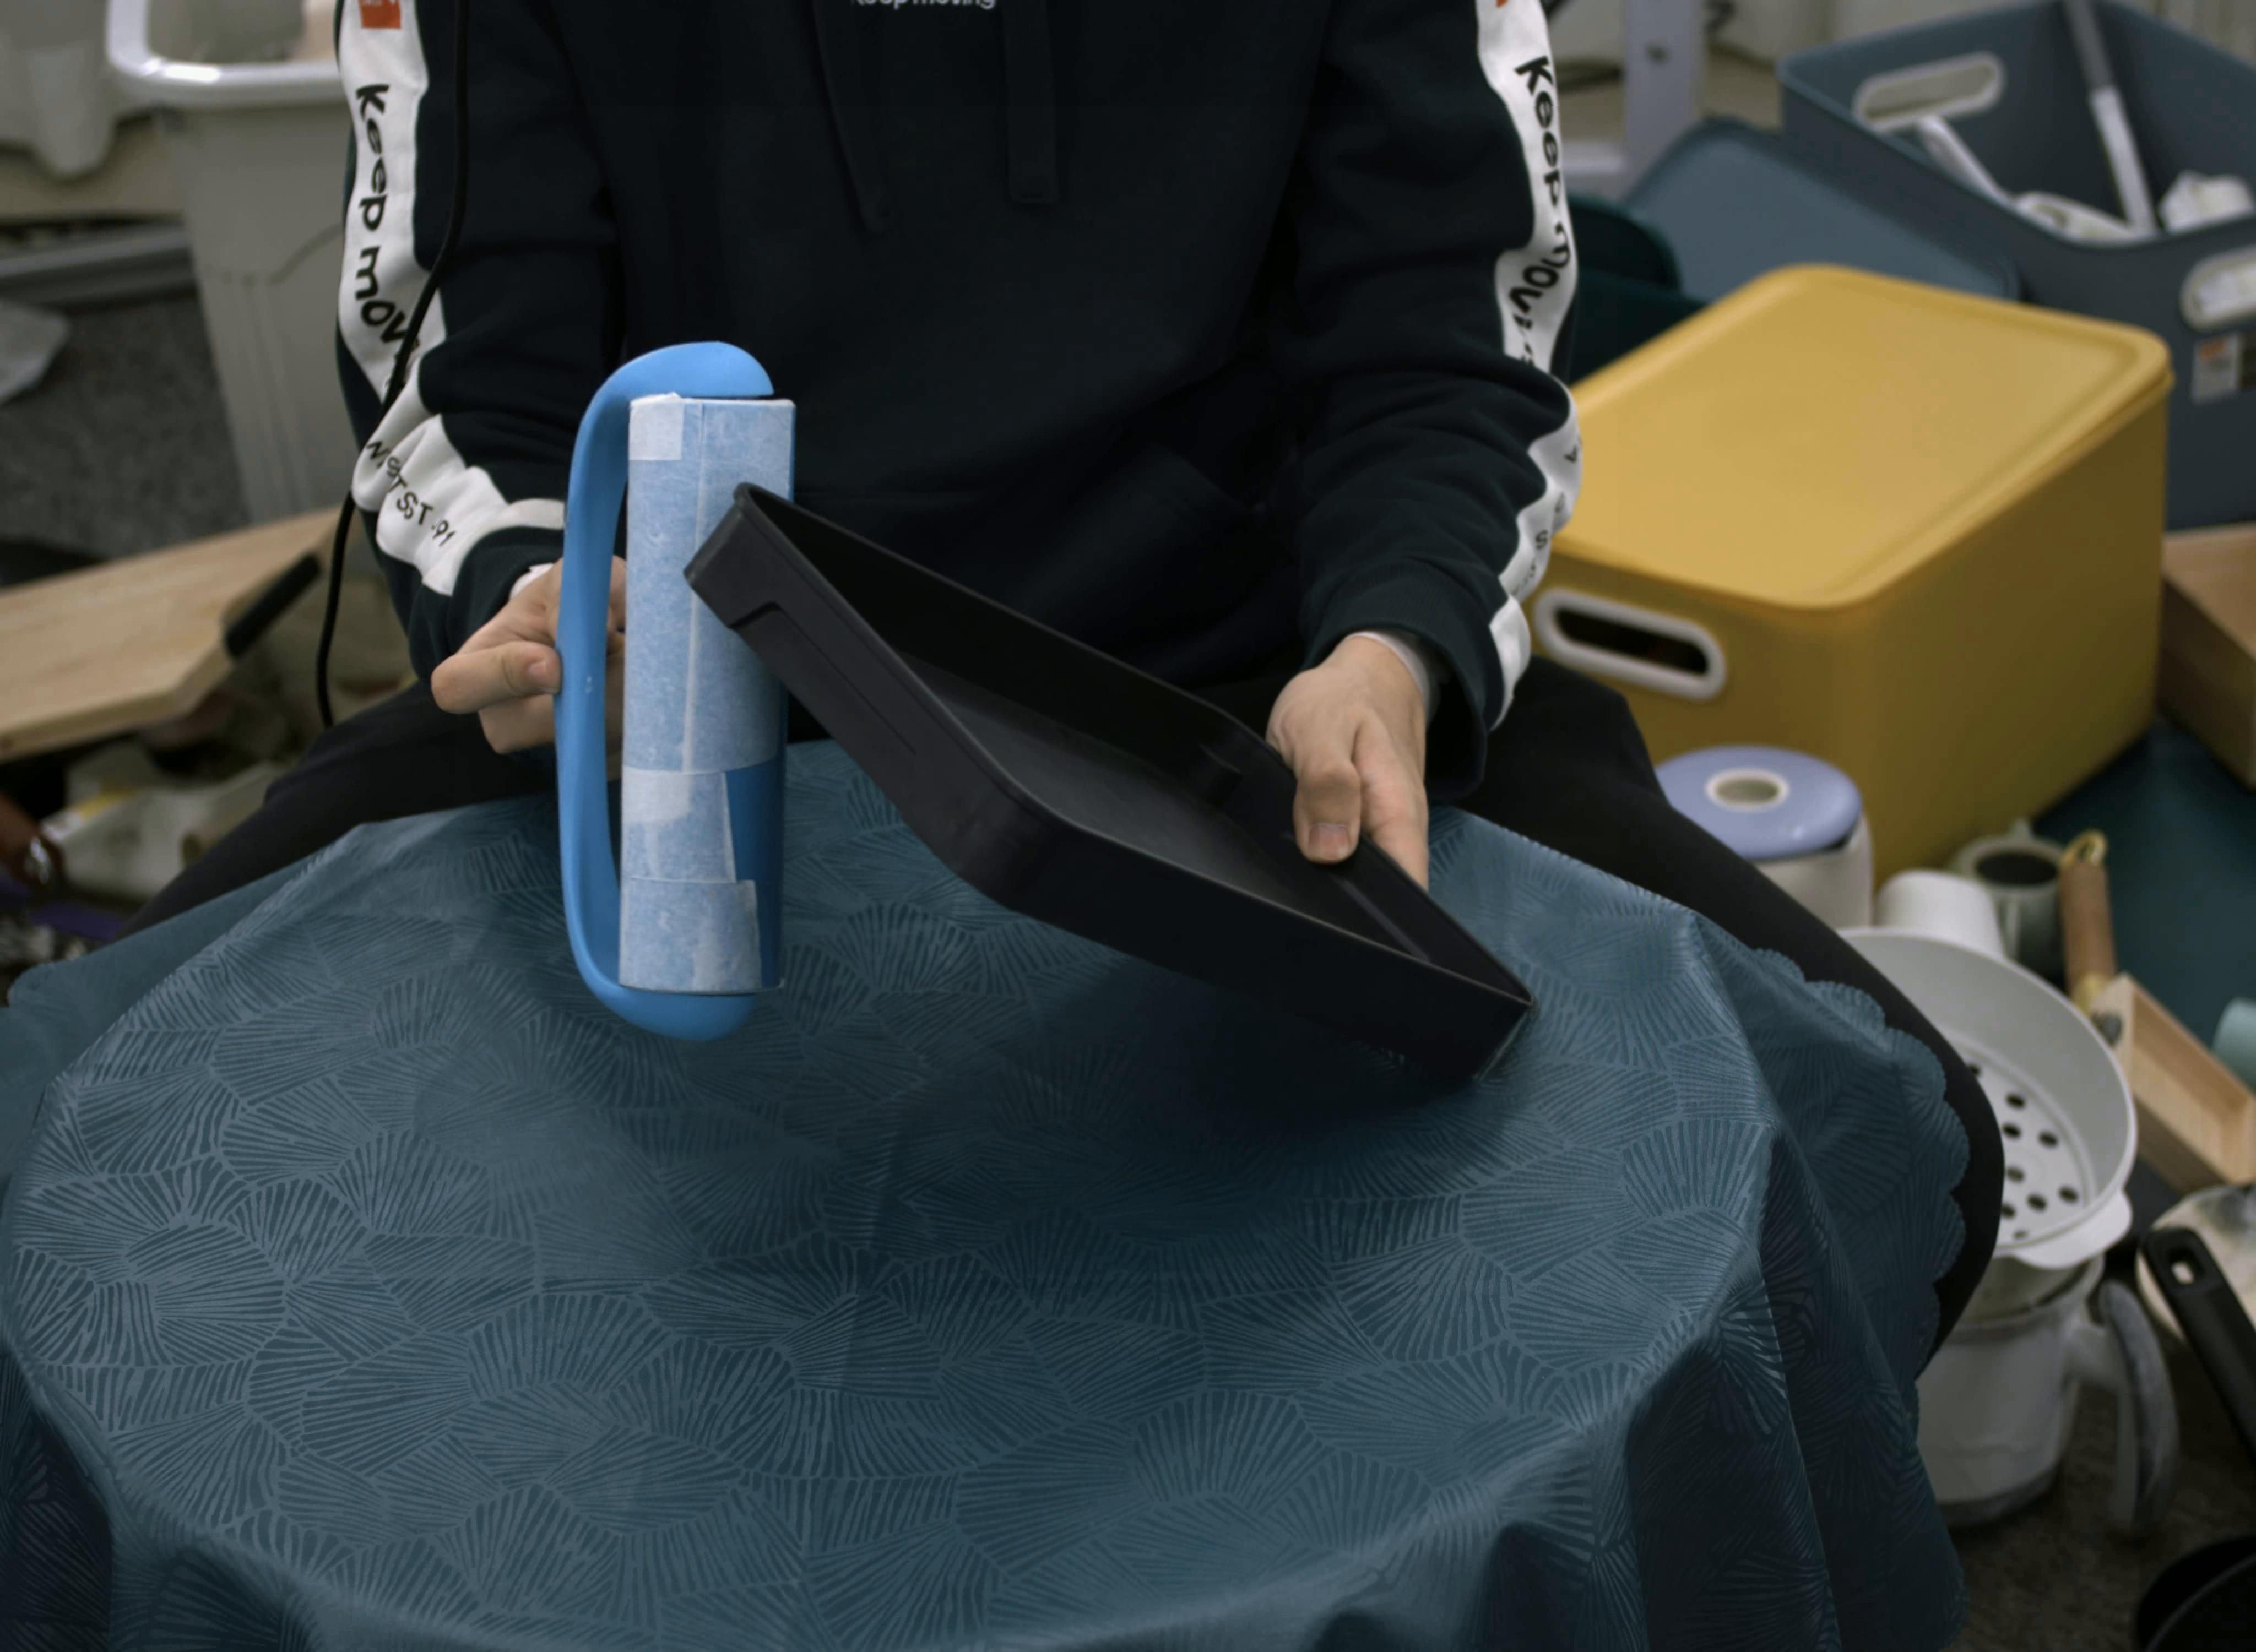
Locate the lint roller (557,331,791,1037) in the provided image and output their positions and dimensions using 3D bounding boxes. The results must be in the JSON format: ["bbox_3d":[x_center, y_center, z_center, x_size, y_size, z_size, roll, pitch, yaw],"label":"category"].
[{"bbox_3d":[-0.161,-0.047,1.885,0.068,0.230,0.179,0,0,-22],"label":"lint roller"}]

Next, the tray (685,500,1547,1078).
[{"bbox_3d":[0.000,-0.007,1.845,0.185,0.037,0.317,44,14,34],"label":"tray"}]
